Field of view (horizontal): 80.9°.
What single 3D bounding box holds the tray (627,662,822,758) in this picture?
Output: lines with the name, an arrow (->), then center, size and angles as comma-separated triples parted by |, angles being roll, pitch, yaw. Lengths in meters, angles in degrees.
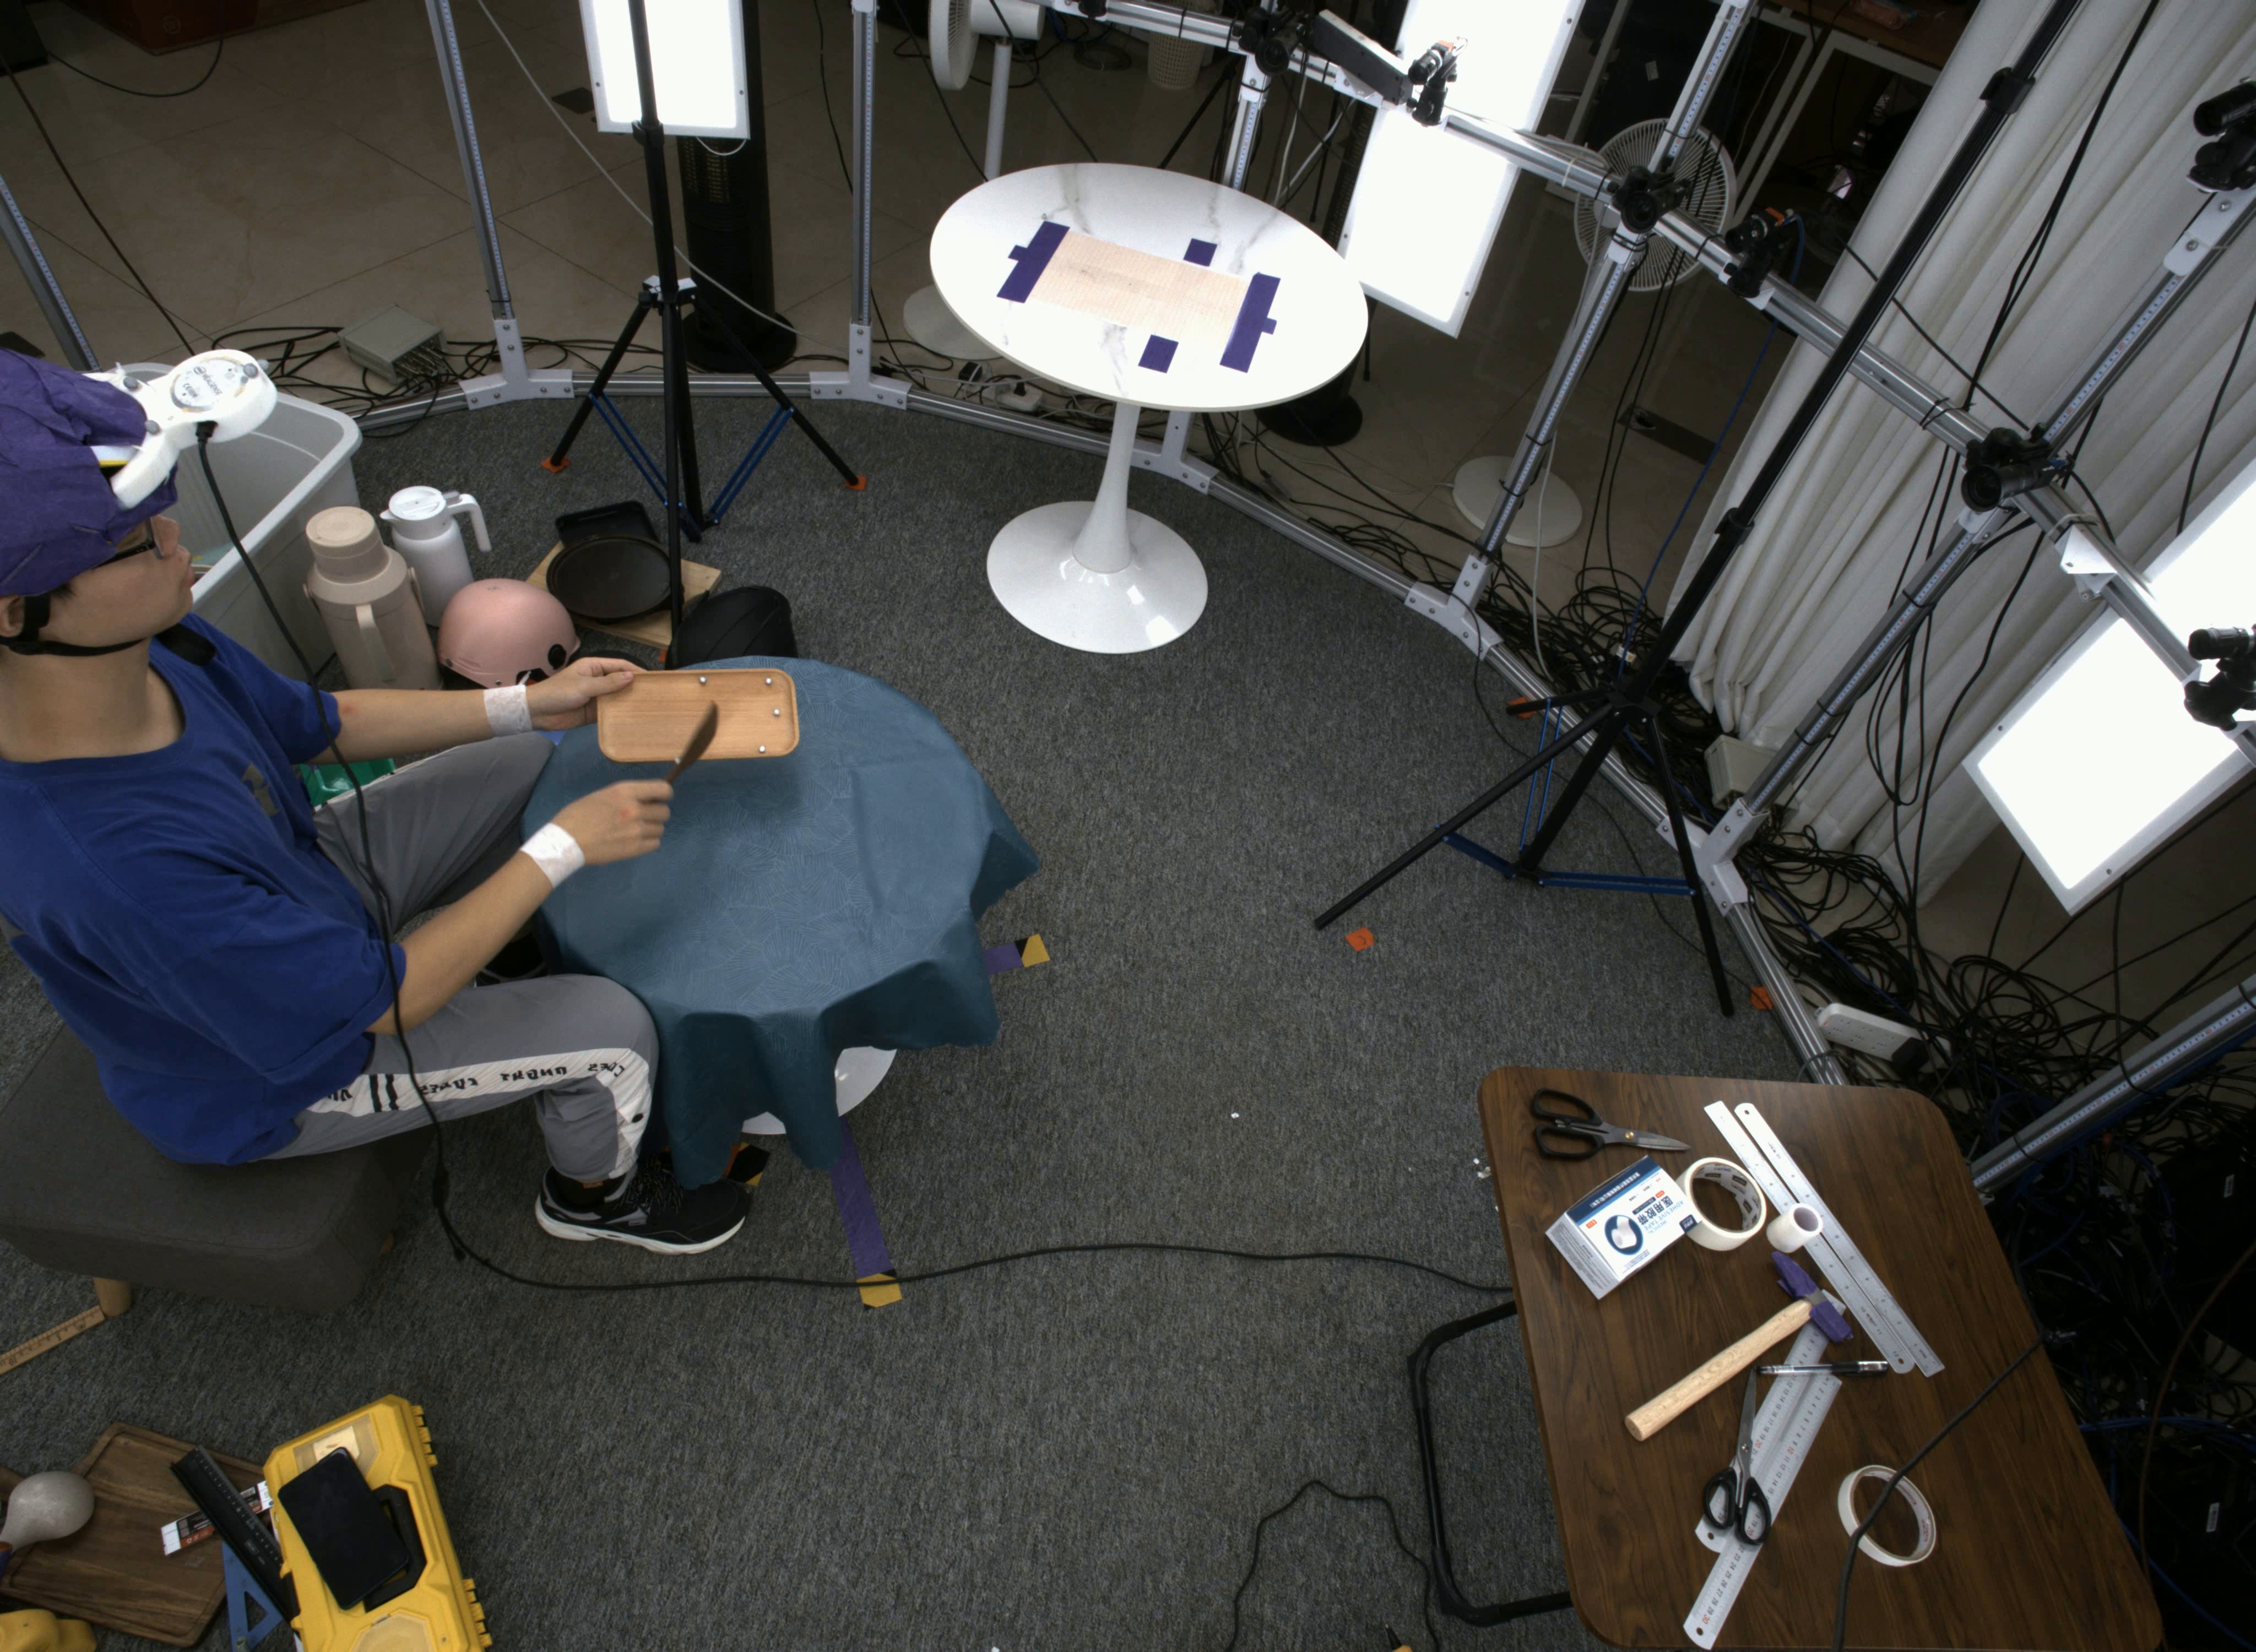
tray -> -0.529, -0.152, 1.683 | 0.252, 0.023, 0.129 | -2, 70, -20

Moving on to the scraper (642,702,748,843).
scraper -> -0.525, -0.064, 1.567 | 0.011, 0.076, 0.210 | 35, 62, -4
